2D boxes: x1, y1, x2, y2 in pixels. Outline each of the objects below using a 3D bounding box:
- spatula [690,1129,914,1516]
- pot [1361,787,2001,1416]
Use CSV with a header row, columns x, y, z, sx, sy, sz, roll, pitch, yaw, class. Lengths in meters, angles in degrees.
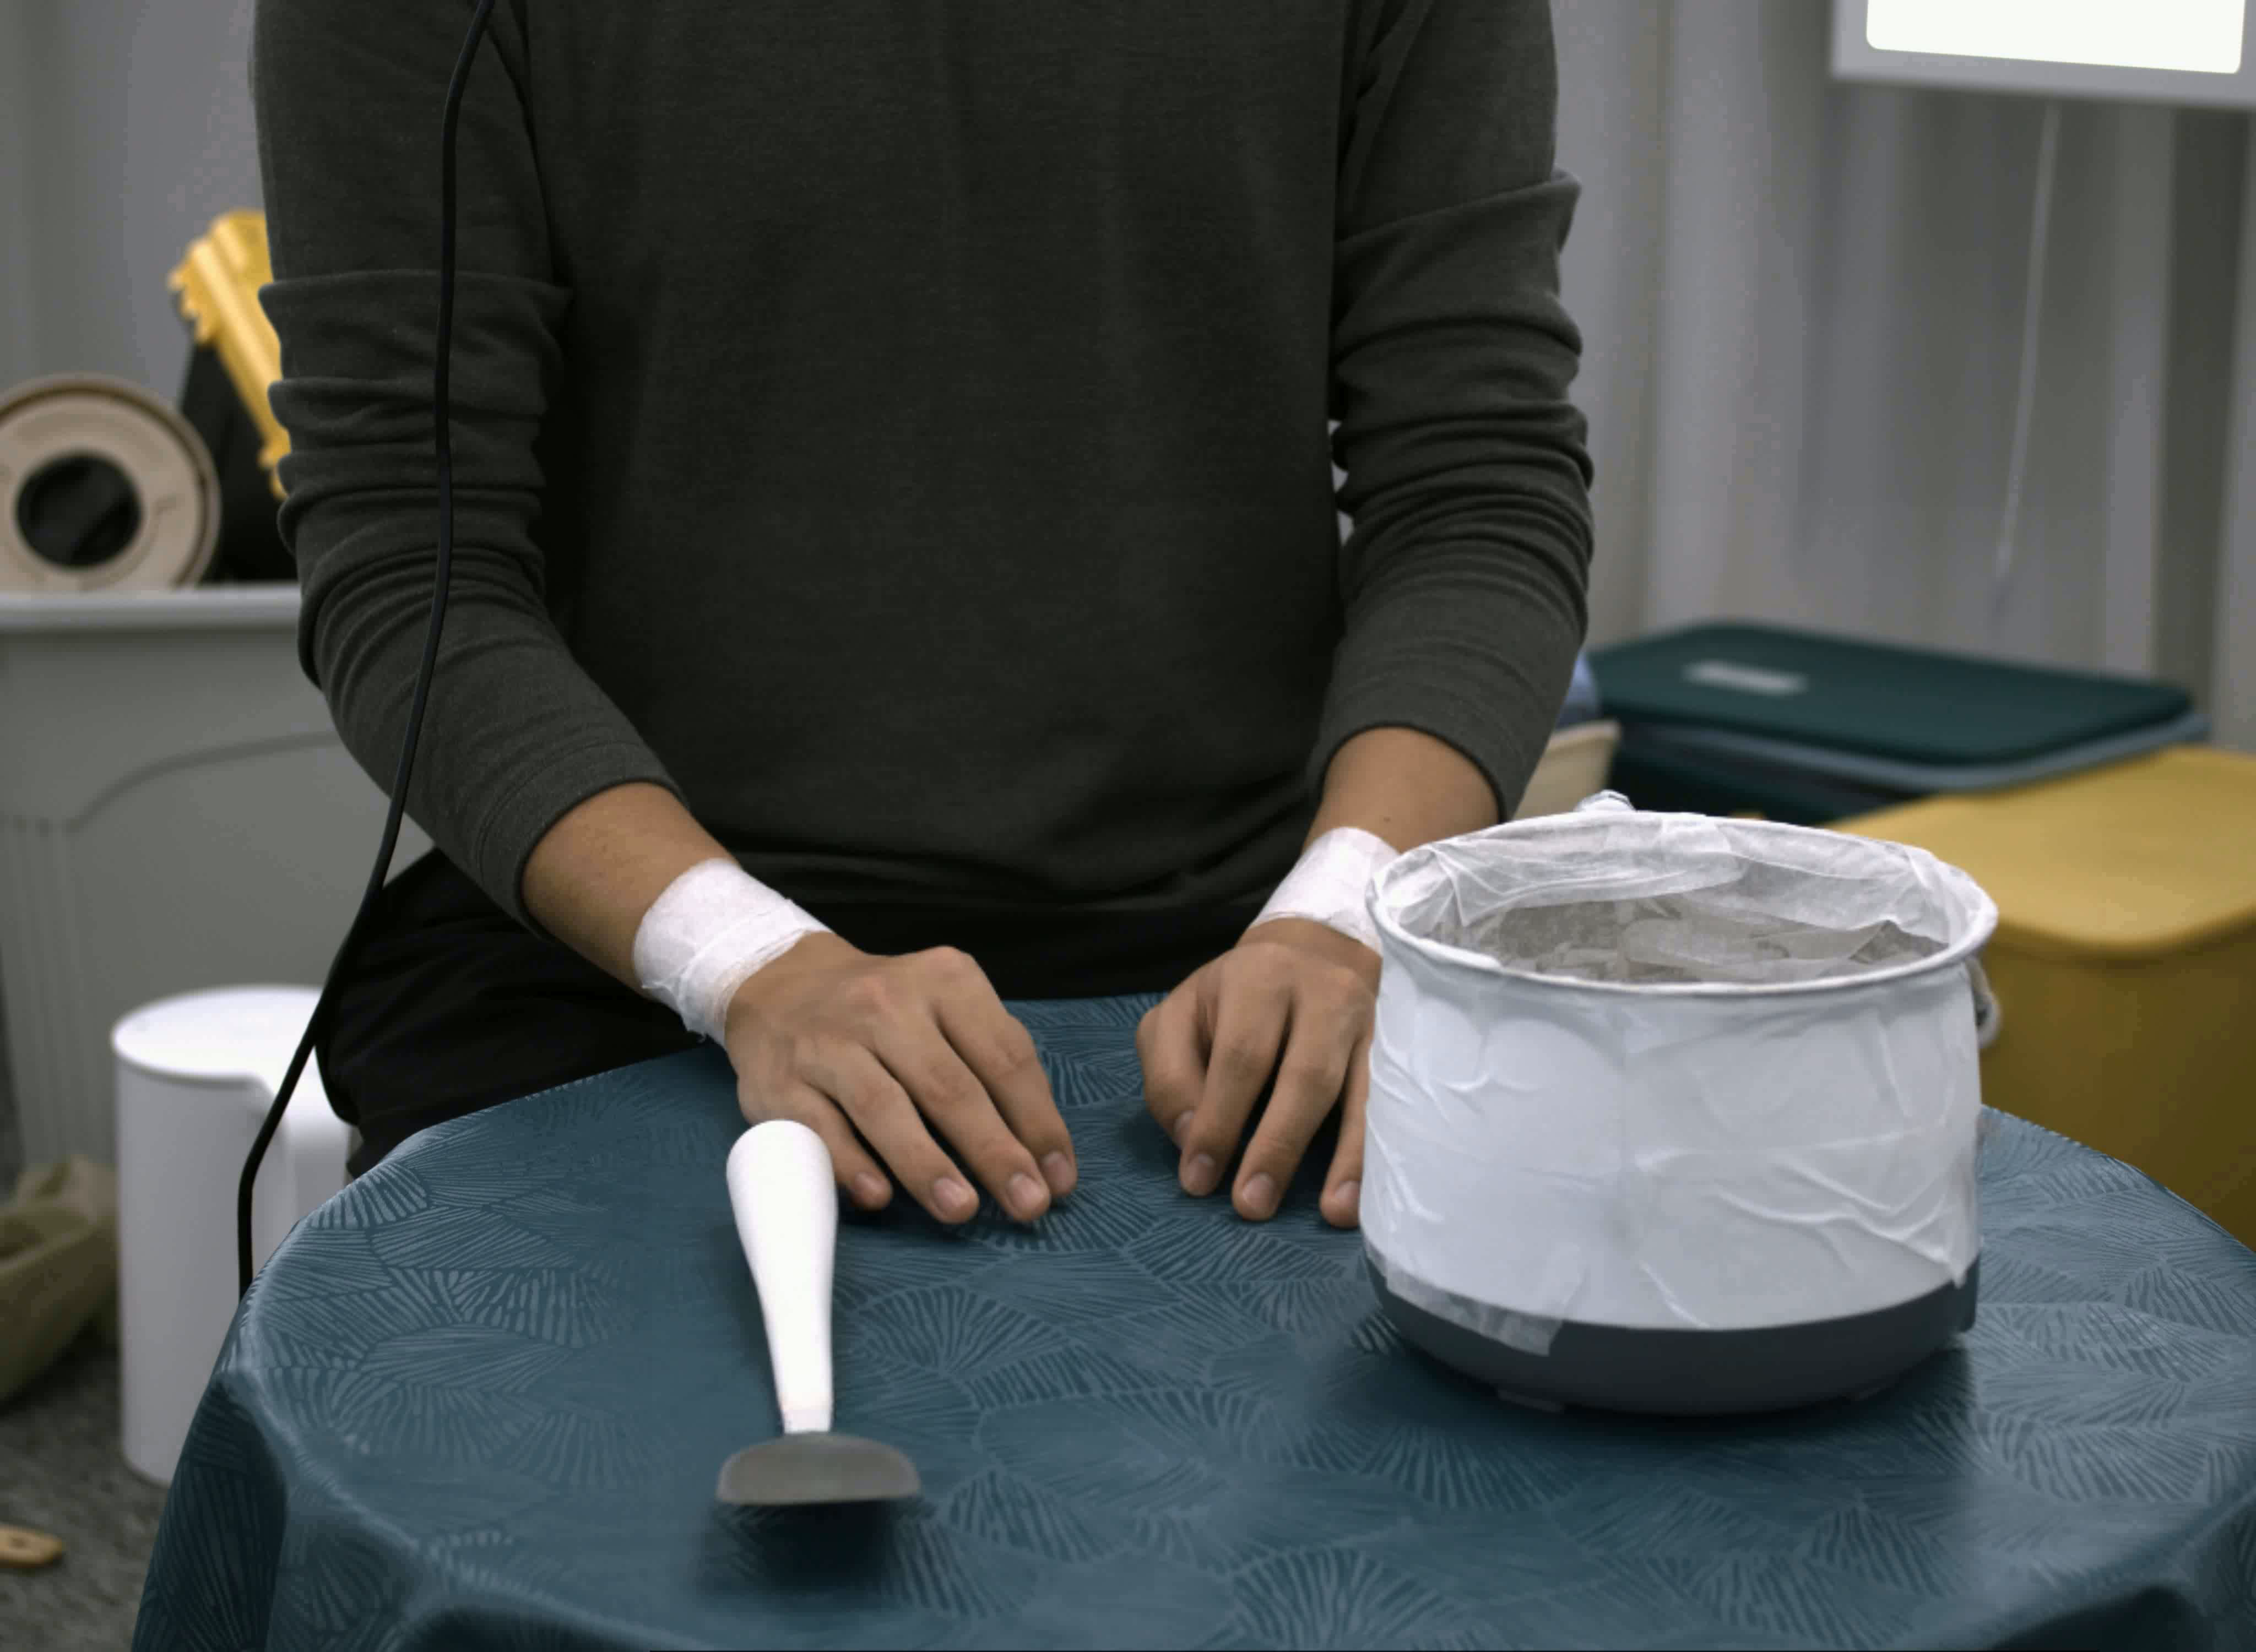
x,y,z,sx,sy,sz,roll,pitch,yaw,class
-0.093,0.142,1.453,0.058,0.032,0.285,2,14,-6,spatula
0.150,0.073,1.514,0.178,0.138,0.232,-2,16,-8,pot
